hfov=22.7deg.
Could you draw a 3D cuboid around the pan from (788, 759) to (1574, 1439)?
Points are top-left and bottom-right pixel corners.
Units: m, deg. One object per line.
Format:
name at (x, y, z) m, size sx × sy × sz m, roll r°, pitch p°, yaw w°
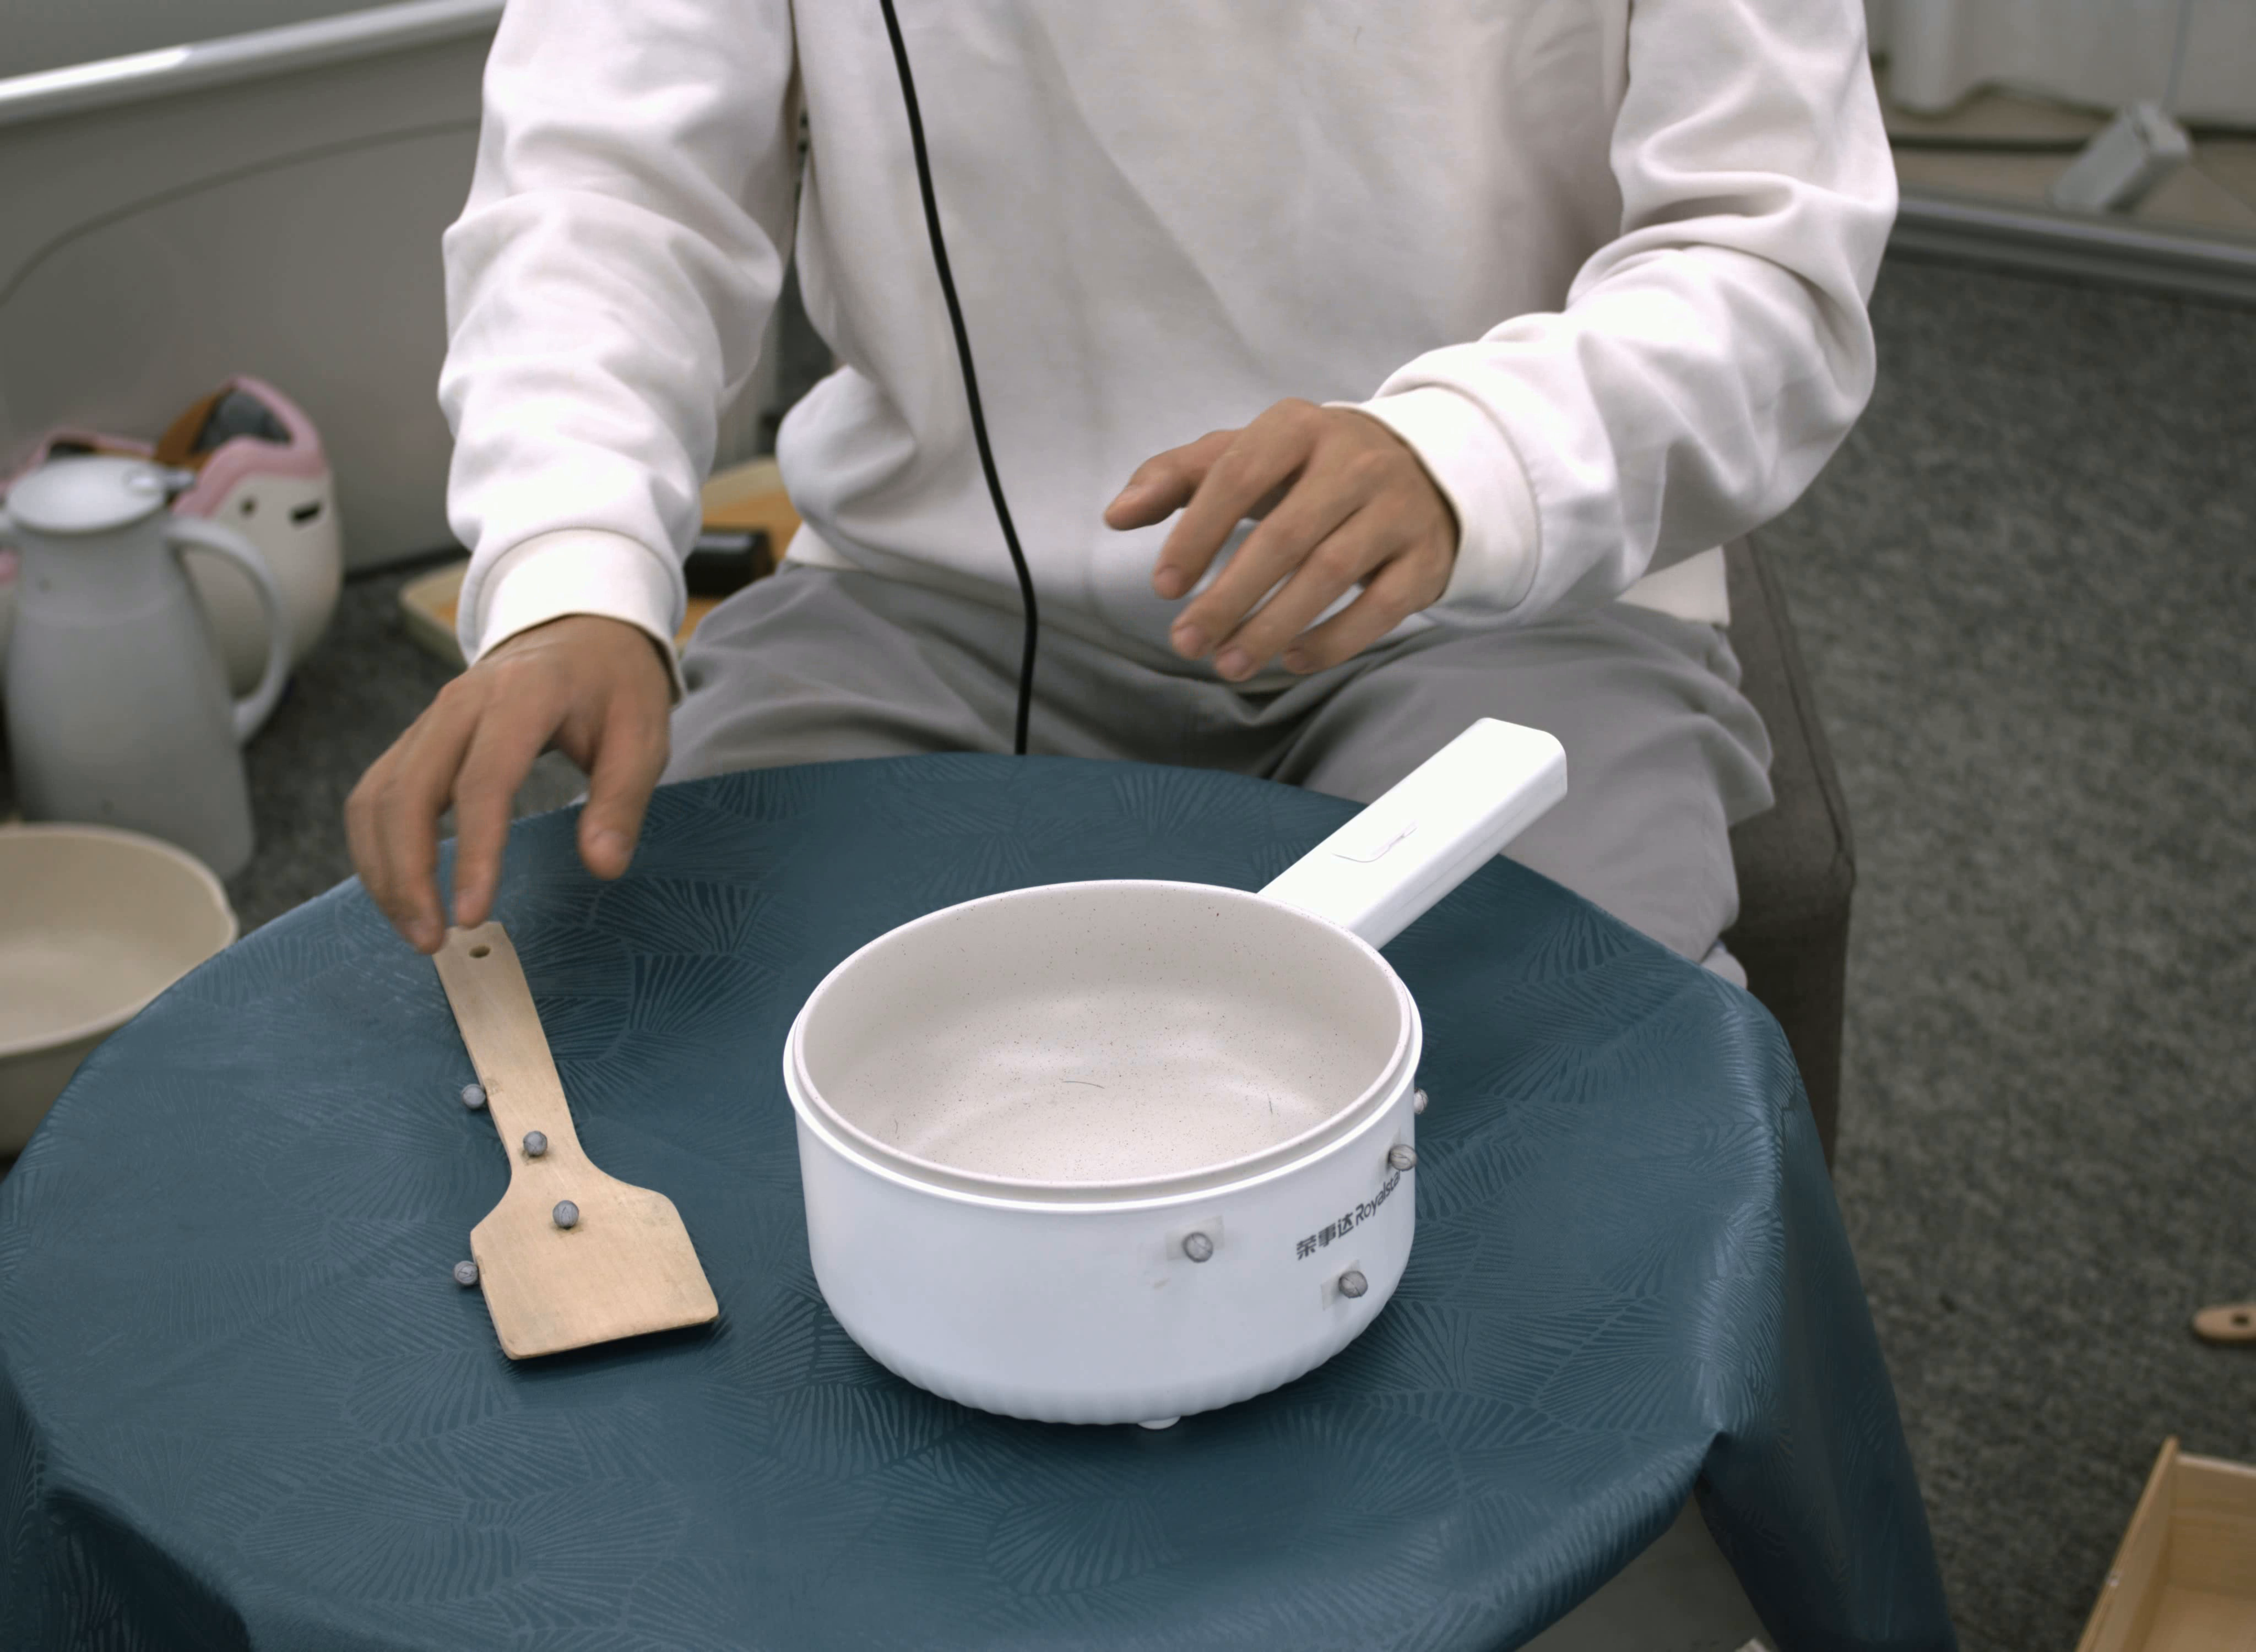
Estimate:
pan at (0.039, 0.085, 1.844) m, size 0.200 × 0.101 × 0.360 m, roll 11°, pitch 27°, yaw 33°
